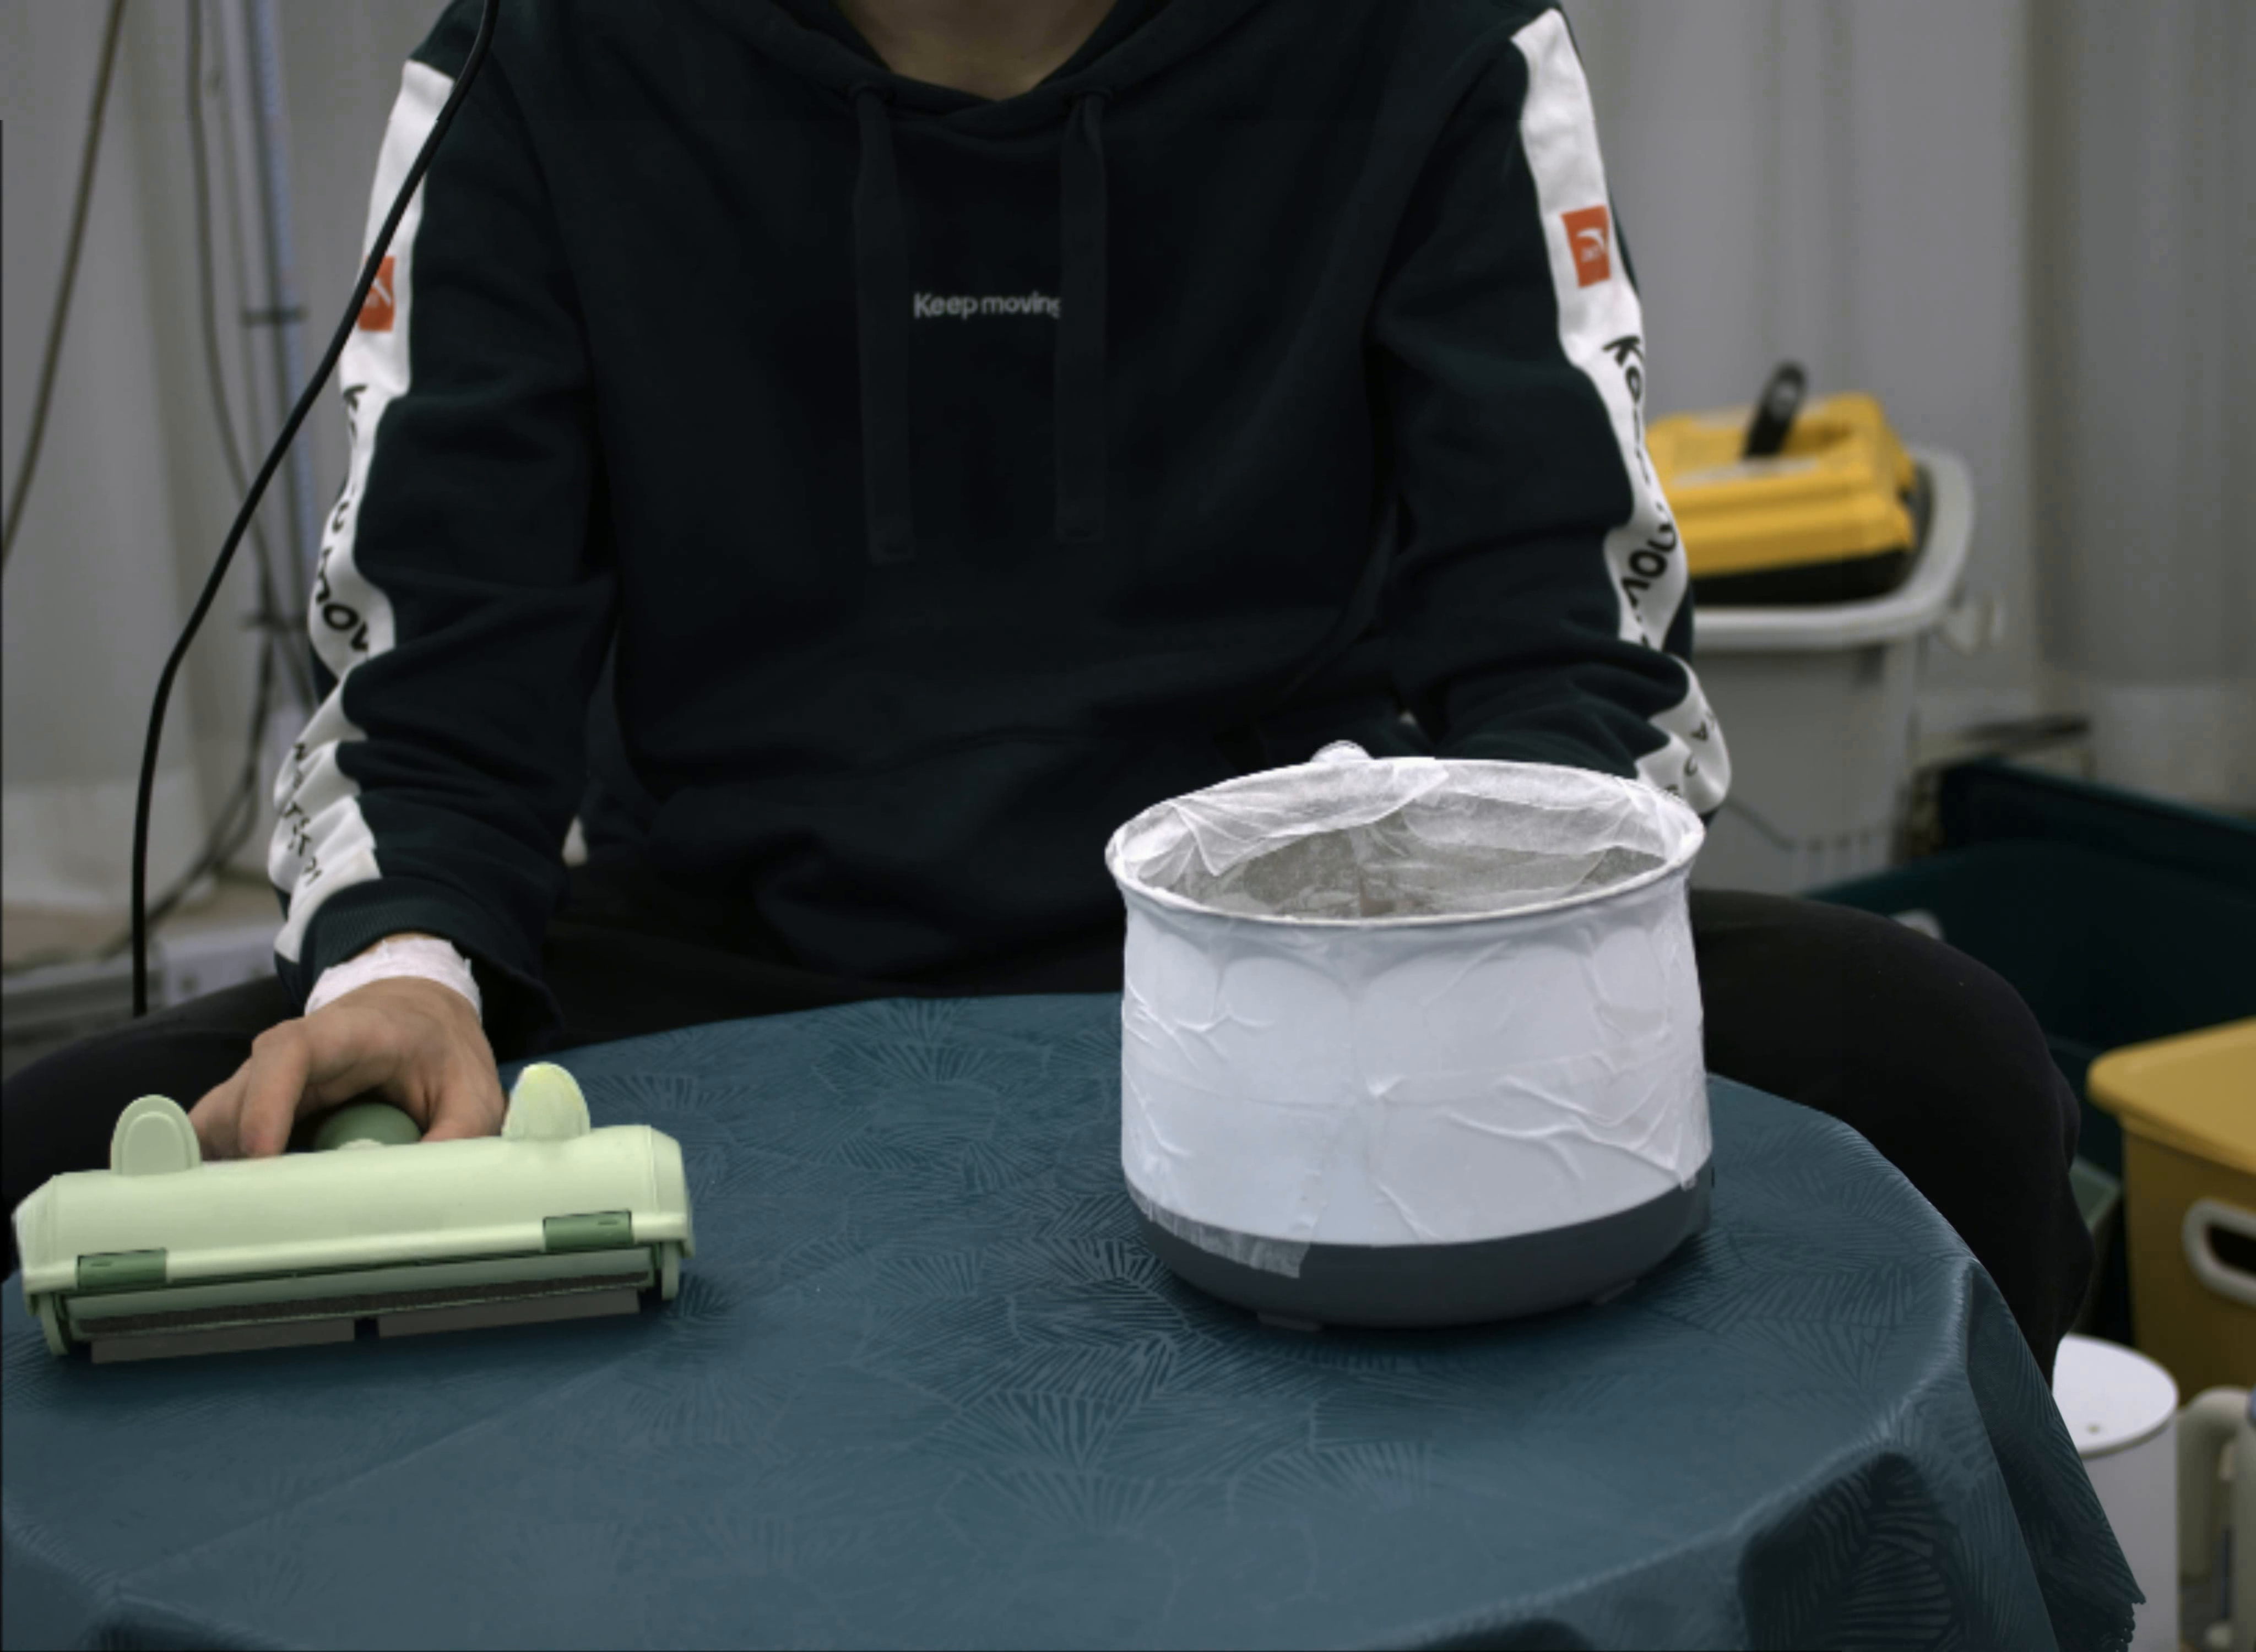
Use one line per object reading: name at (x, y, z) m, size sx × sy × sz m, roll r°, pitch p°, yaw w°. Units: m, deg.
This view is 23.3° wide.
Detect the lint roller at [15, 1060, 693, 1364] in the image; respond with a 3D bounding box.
lint roller at (-0.236, 0.099, 1.677) m, size 0.198 × 0.081 × 0.185 m, roll -5°, pitch 20°, yaw -6°

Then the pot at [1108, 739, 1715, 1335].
pot at (0.081, 0.058, 1.648) m, size 0.178 × 0.136 × 0.235 m, roll -5°, pitch 15°, yaw -8°
